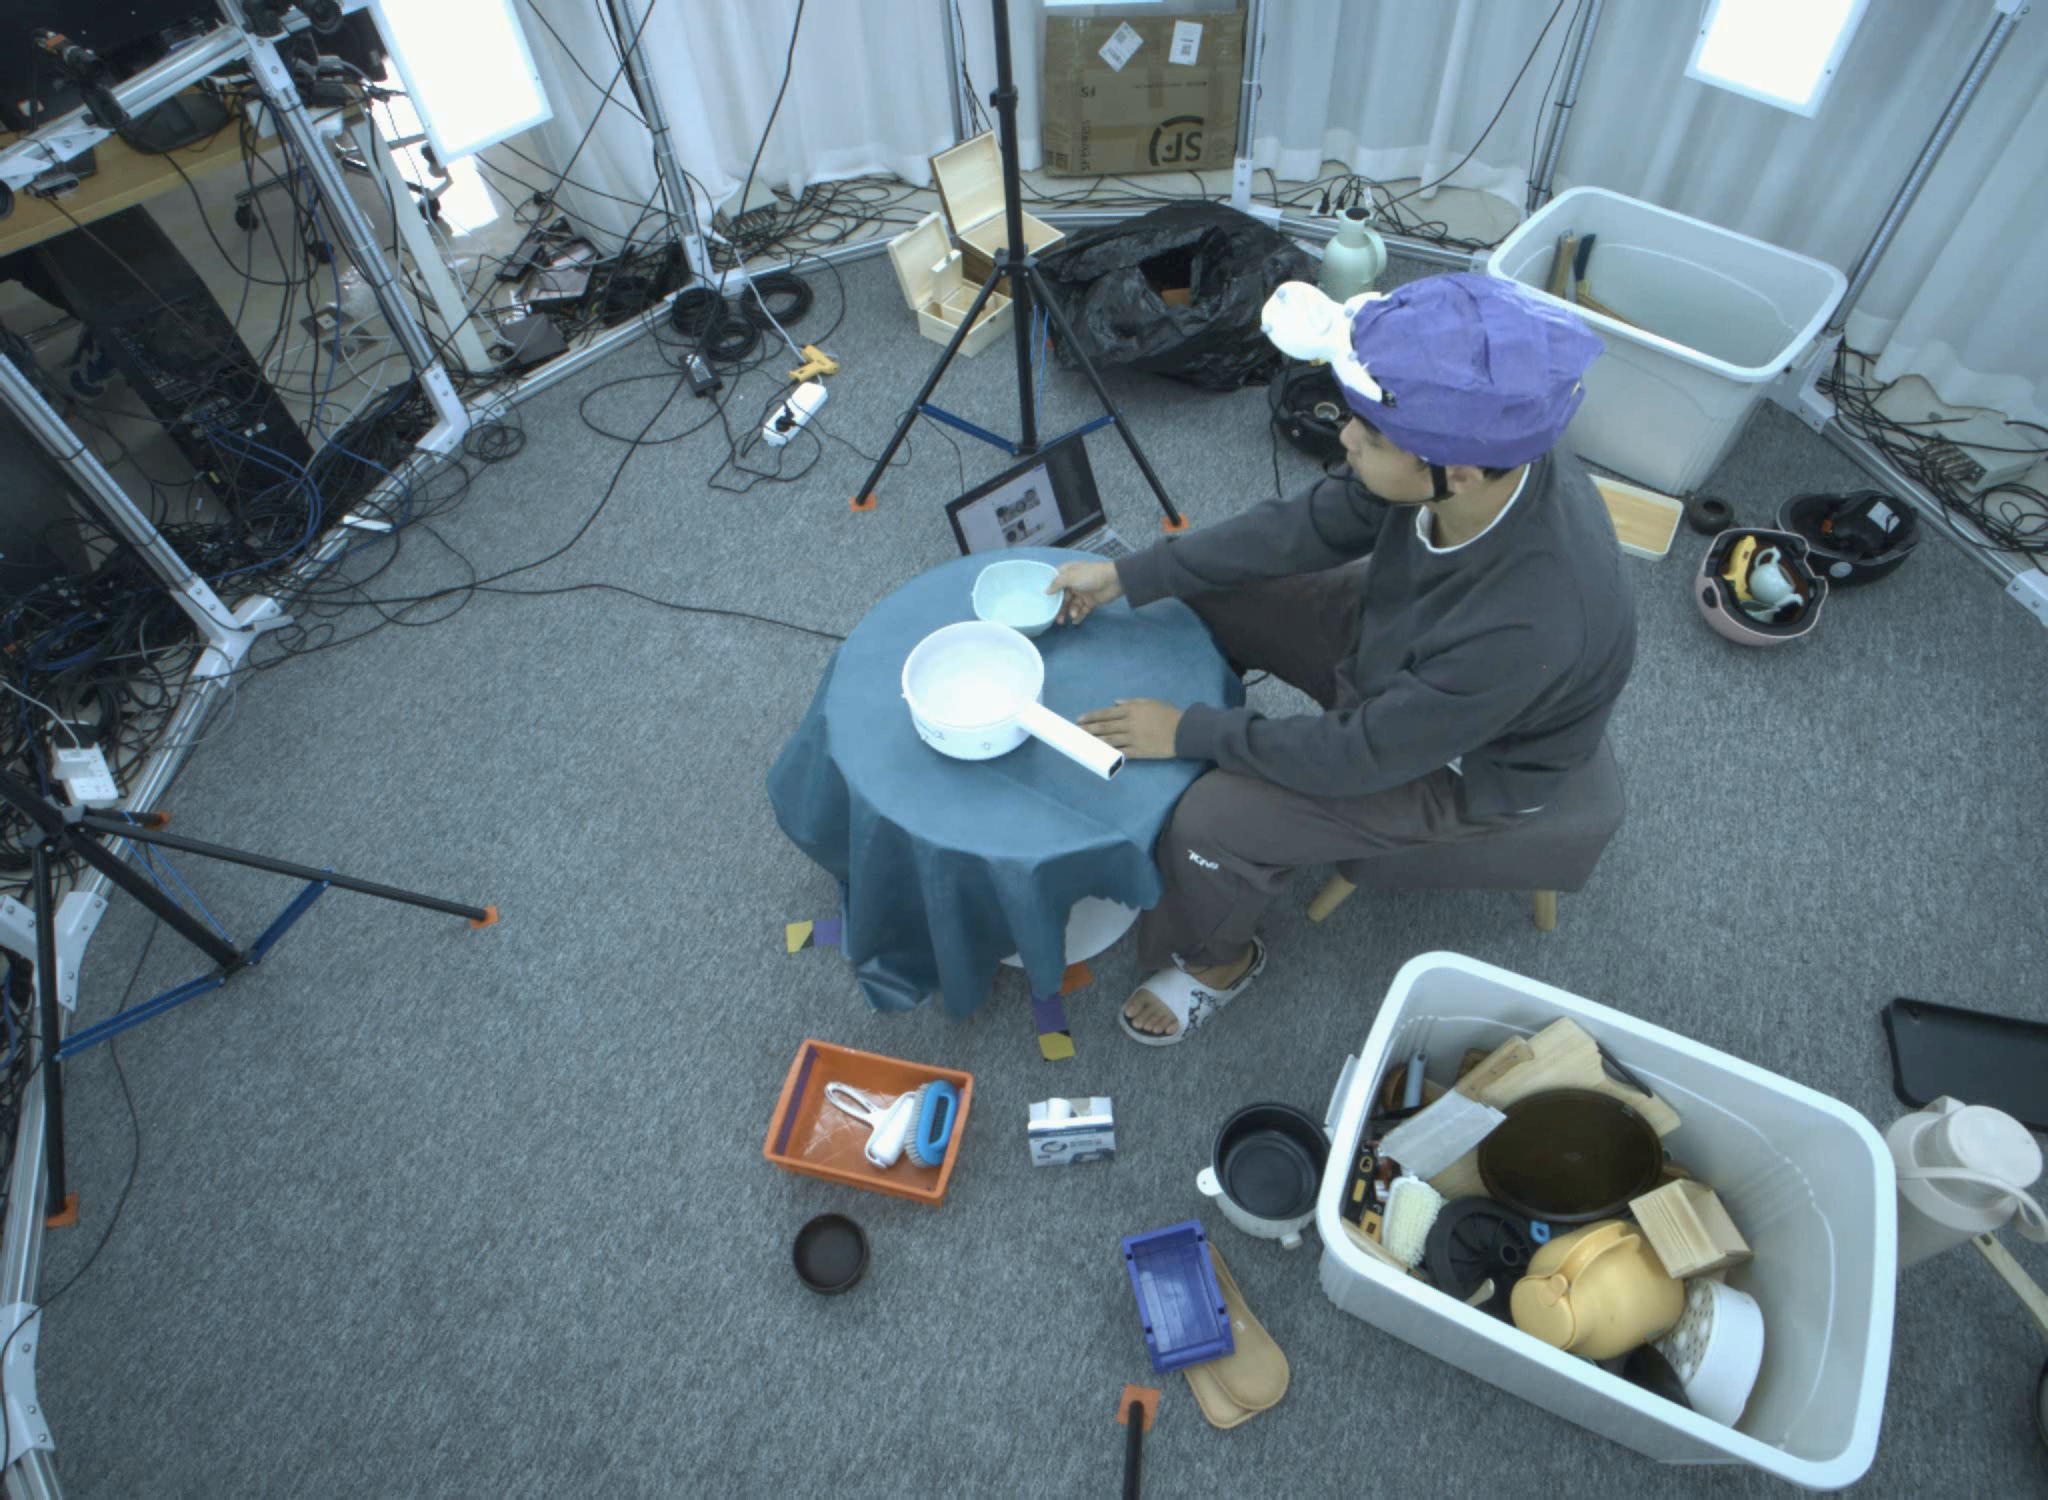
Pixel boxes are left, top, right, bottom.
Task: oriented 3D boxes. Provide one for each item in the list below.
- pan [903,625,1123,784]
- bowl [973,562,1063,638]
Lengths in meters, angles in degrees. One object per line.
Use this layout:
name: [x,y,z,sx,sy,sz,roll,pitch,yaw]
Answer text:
pan: [-0.012,-0.040,1.763,0.349,0.103,0.202,33,59,20]
bowl: [-0.008,-0.225,1.912,0.151,0.059,0.150,-1,54,3]
